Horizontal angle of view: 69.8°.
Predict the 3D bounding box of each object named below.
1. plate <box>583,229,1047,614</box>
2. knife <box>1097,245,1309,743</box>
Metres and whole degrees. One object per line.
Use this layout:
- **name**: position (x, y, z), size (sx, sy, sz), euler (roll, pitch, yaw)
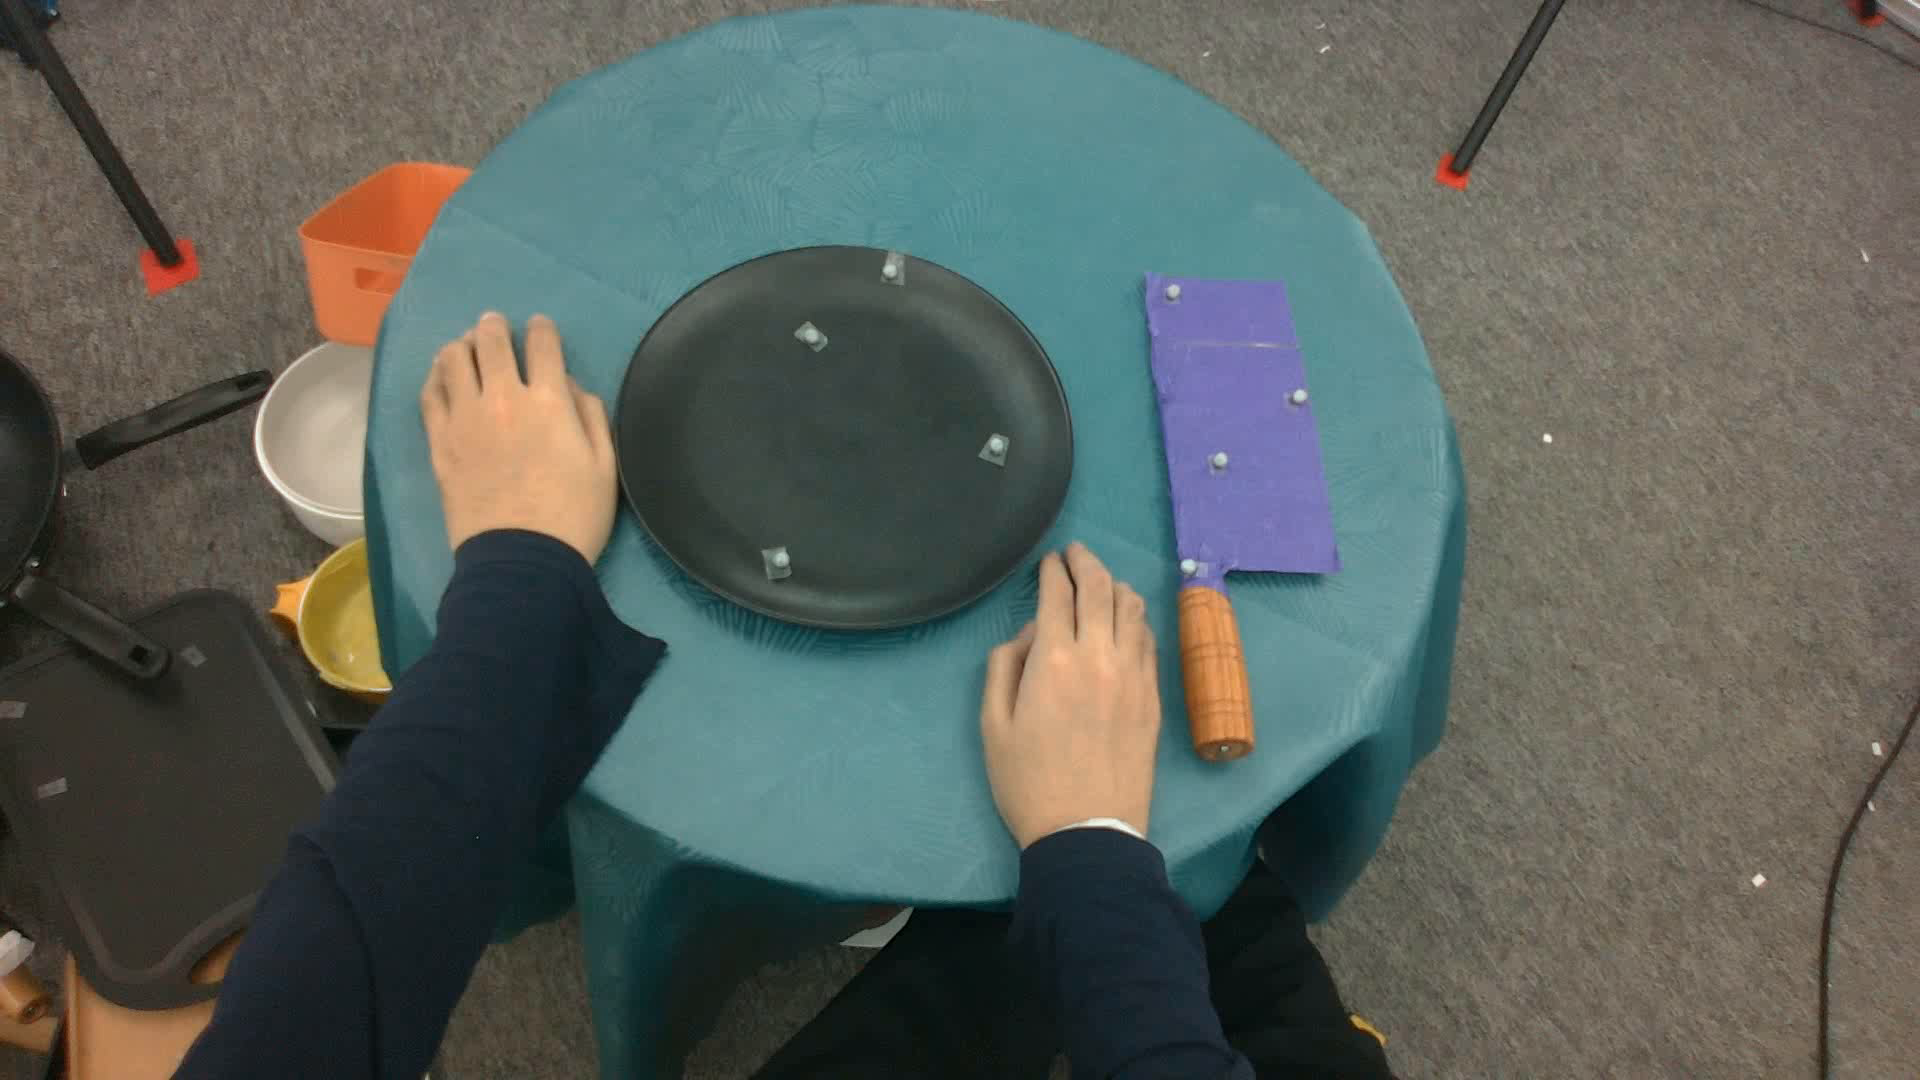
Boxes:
- **plate**: position (-0.075, -0.066, 0.737), size (0.244, 0.023, 0.245), euler (4, 61, -7)
- **knife**: position (0.142, -0.041, 0.756), size (0.104, 0.032, 0.316), euler (1, 61, -8)
